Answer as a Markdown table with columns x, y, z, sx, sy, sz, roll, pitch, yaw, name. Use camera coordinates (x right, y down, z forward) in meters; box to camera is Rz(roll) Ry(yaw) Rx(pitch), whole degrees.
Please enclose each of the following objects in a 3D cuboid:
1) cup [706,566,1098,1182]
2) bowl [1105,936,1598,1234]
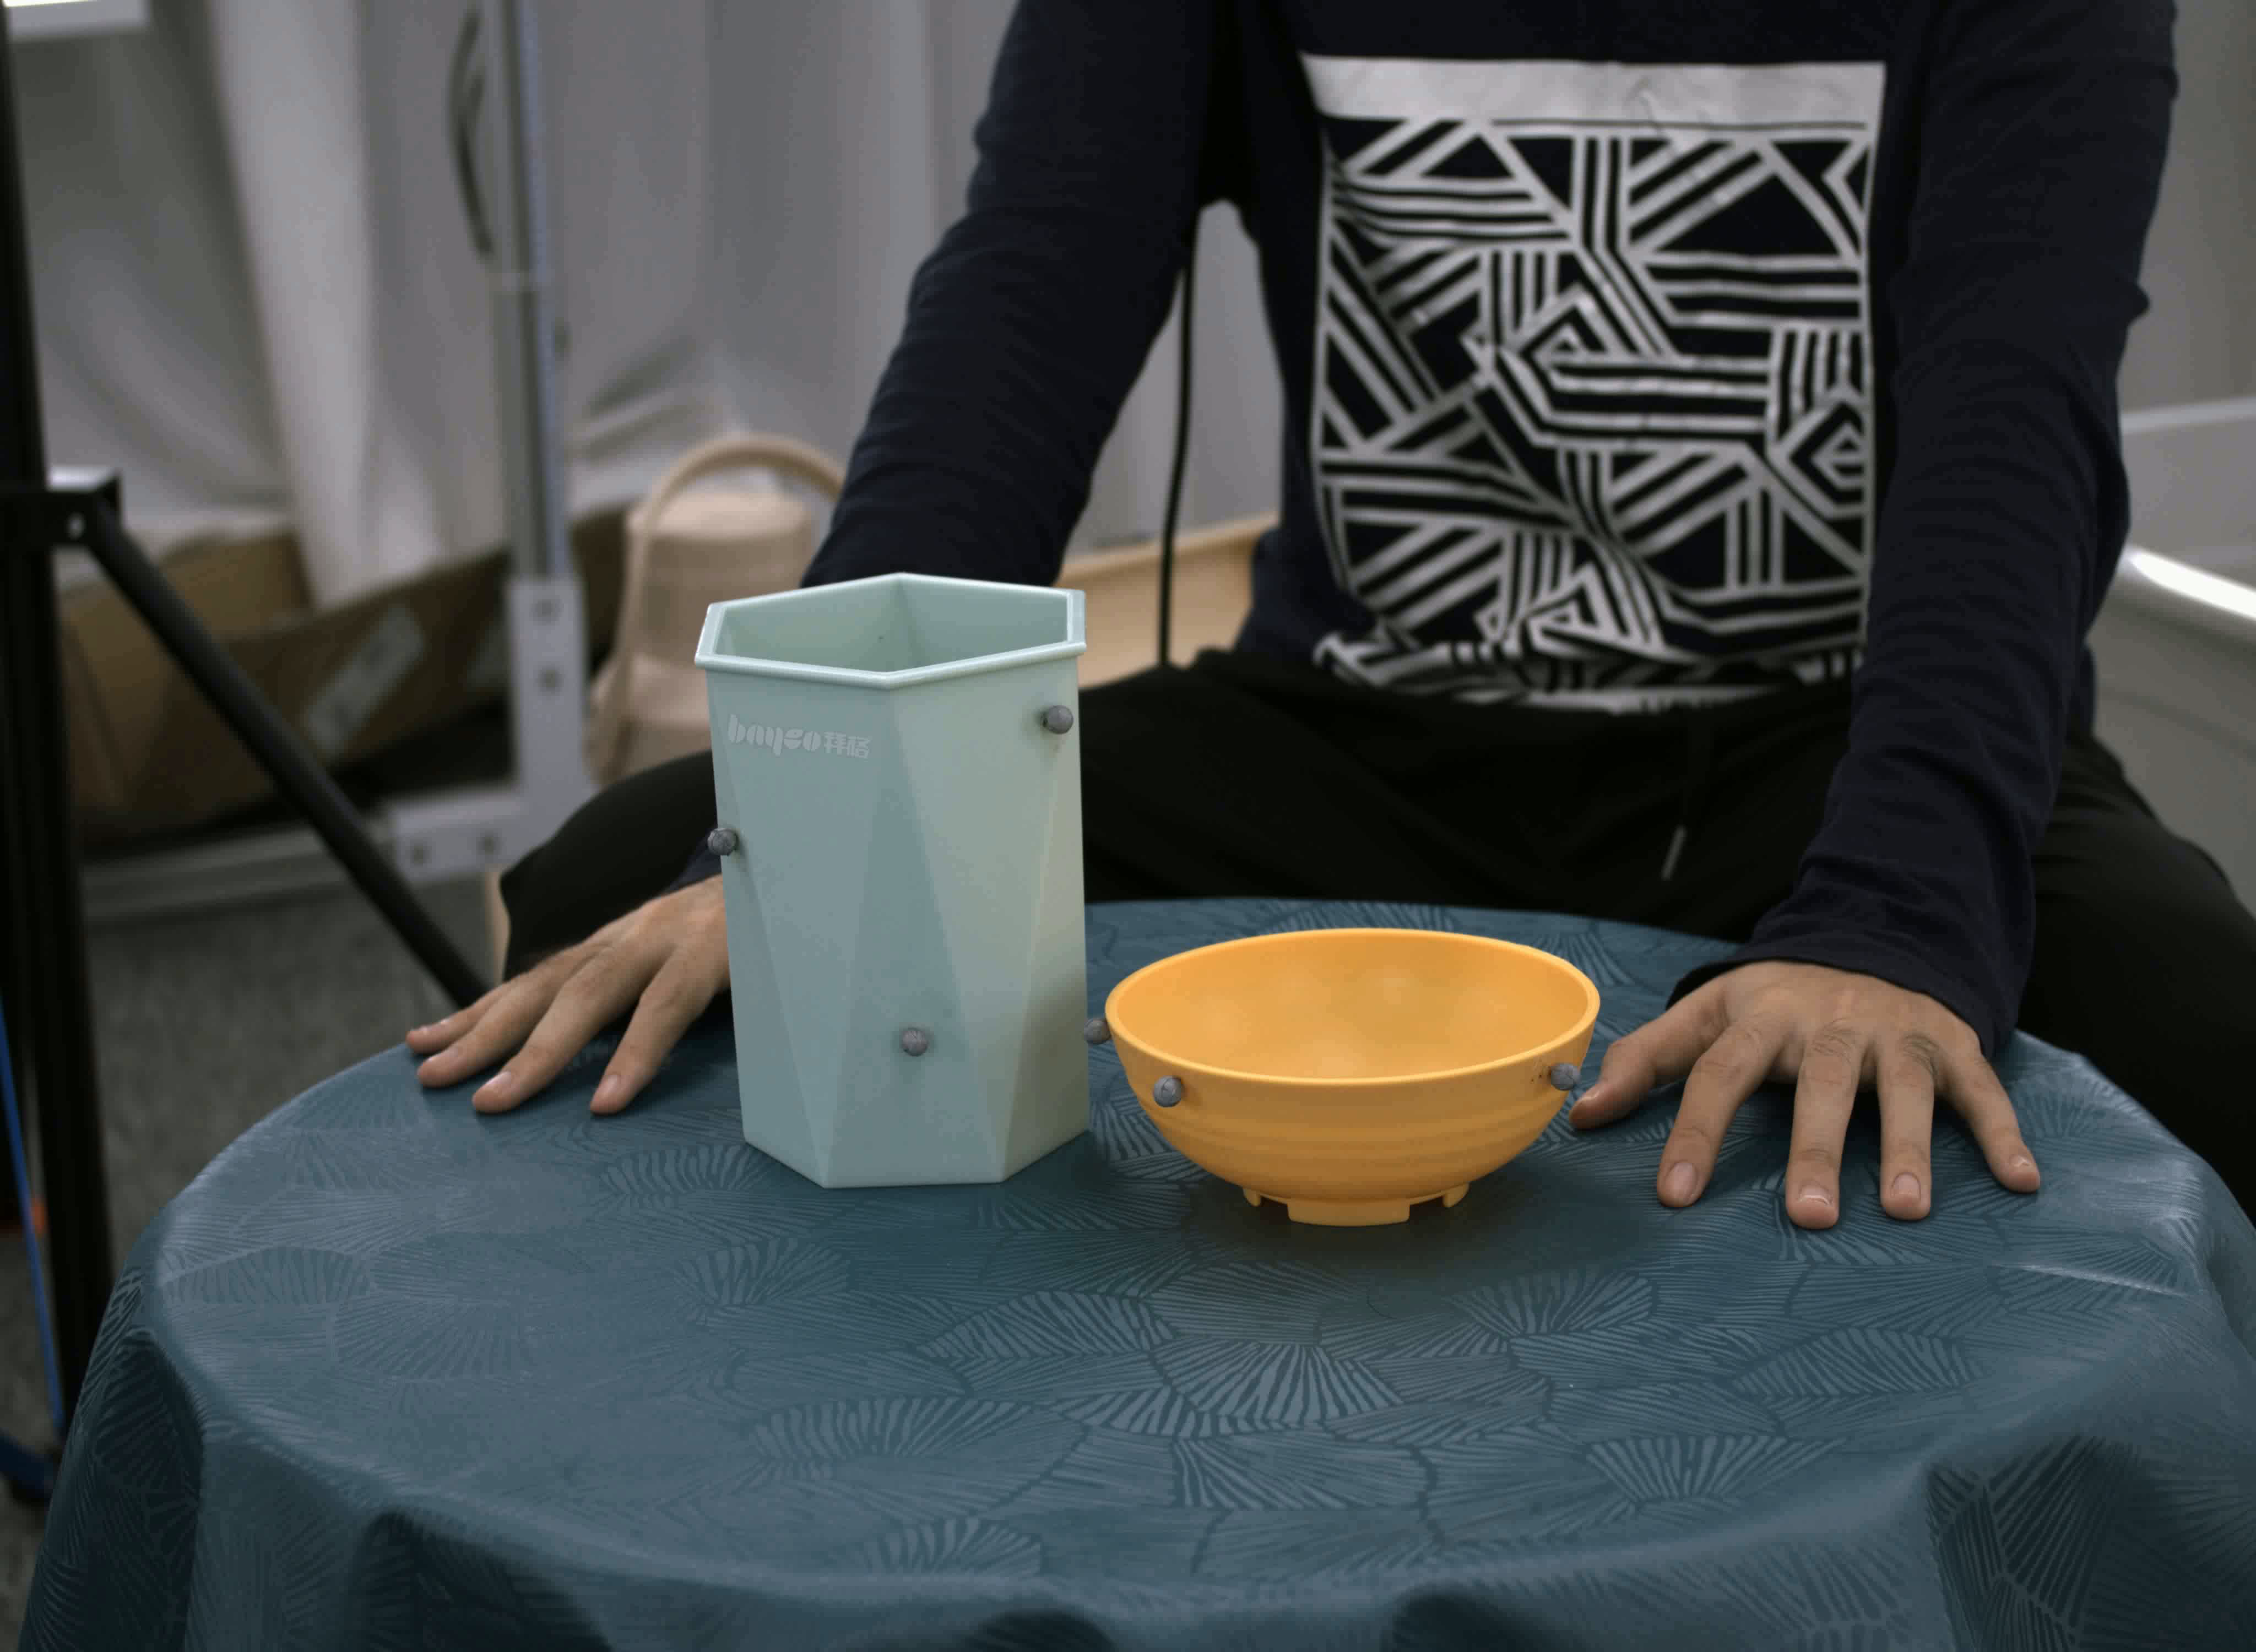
| x | y | z | sx | sy | sz | roll | pitch | yaw | name |
| --- | --- | --- | --- | --- | --- | --- | --- | --- | --- |
| -0.066 | 0.016 | 1.597 | 0.133 | 0.163 | 0.113 | 7 | 16 | 28 | cup |
| 0.065 | 0.081 | 1.552 | 0.144 | 0.060 | 0.146 | 0 | 15 | -1 | bowl |
